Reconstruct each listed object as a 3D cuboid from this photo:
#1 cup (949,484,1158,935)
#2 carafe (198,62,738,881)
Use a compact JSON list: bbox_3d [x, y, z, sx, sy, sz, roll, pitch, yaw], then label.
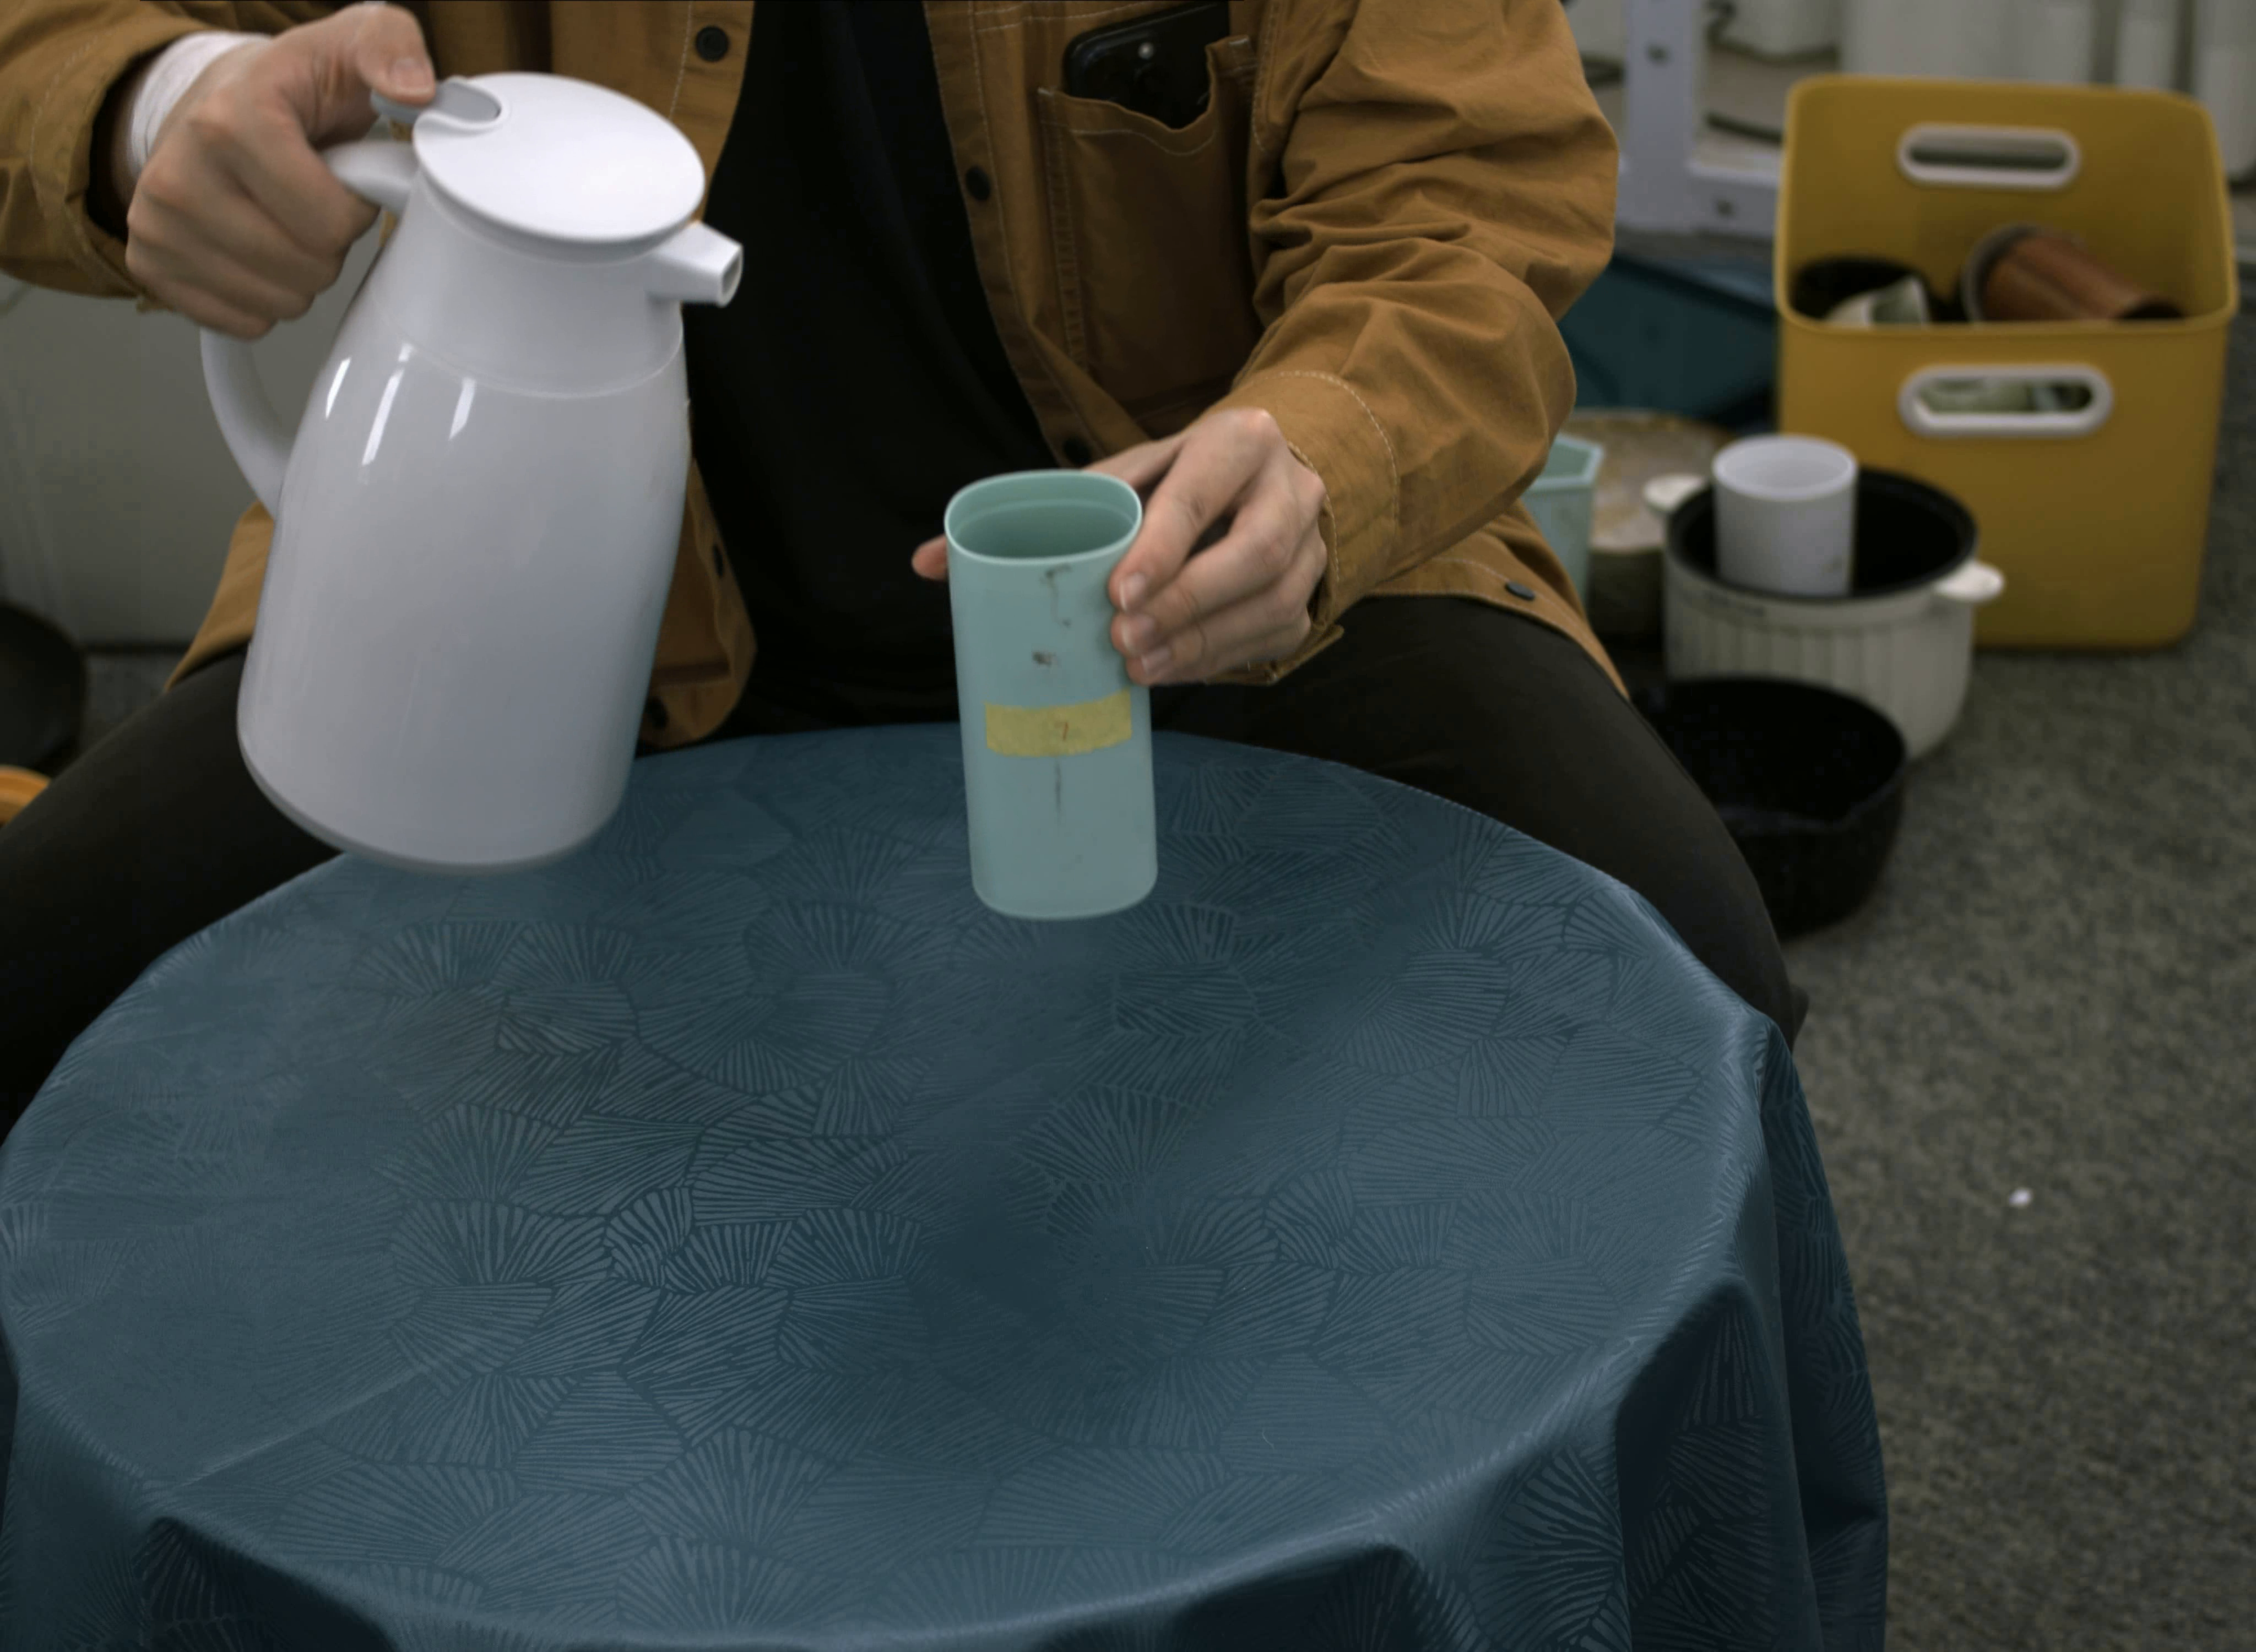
[{"bbox_3d":[-0.023,-0.038,1.796,0.066,0.131,0.068,-2,28,1],"label":"cup"},{"bbox_3d":[-0.222,-0.124,1.810,0.167,0.245,0.135,20,35,5],"label":"carafe"}]
